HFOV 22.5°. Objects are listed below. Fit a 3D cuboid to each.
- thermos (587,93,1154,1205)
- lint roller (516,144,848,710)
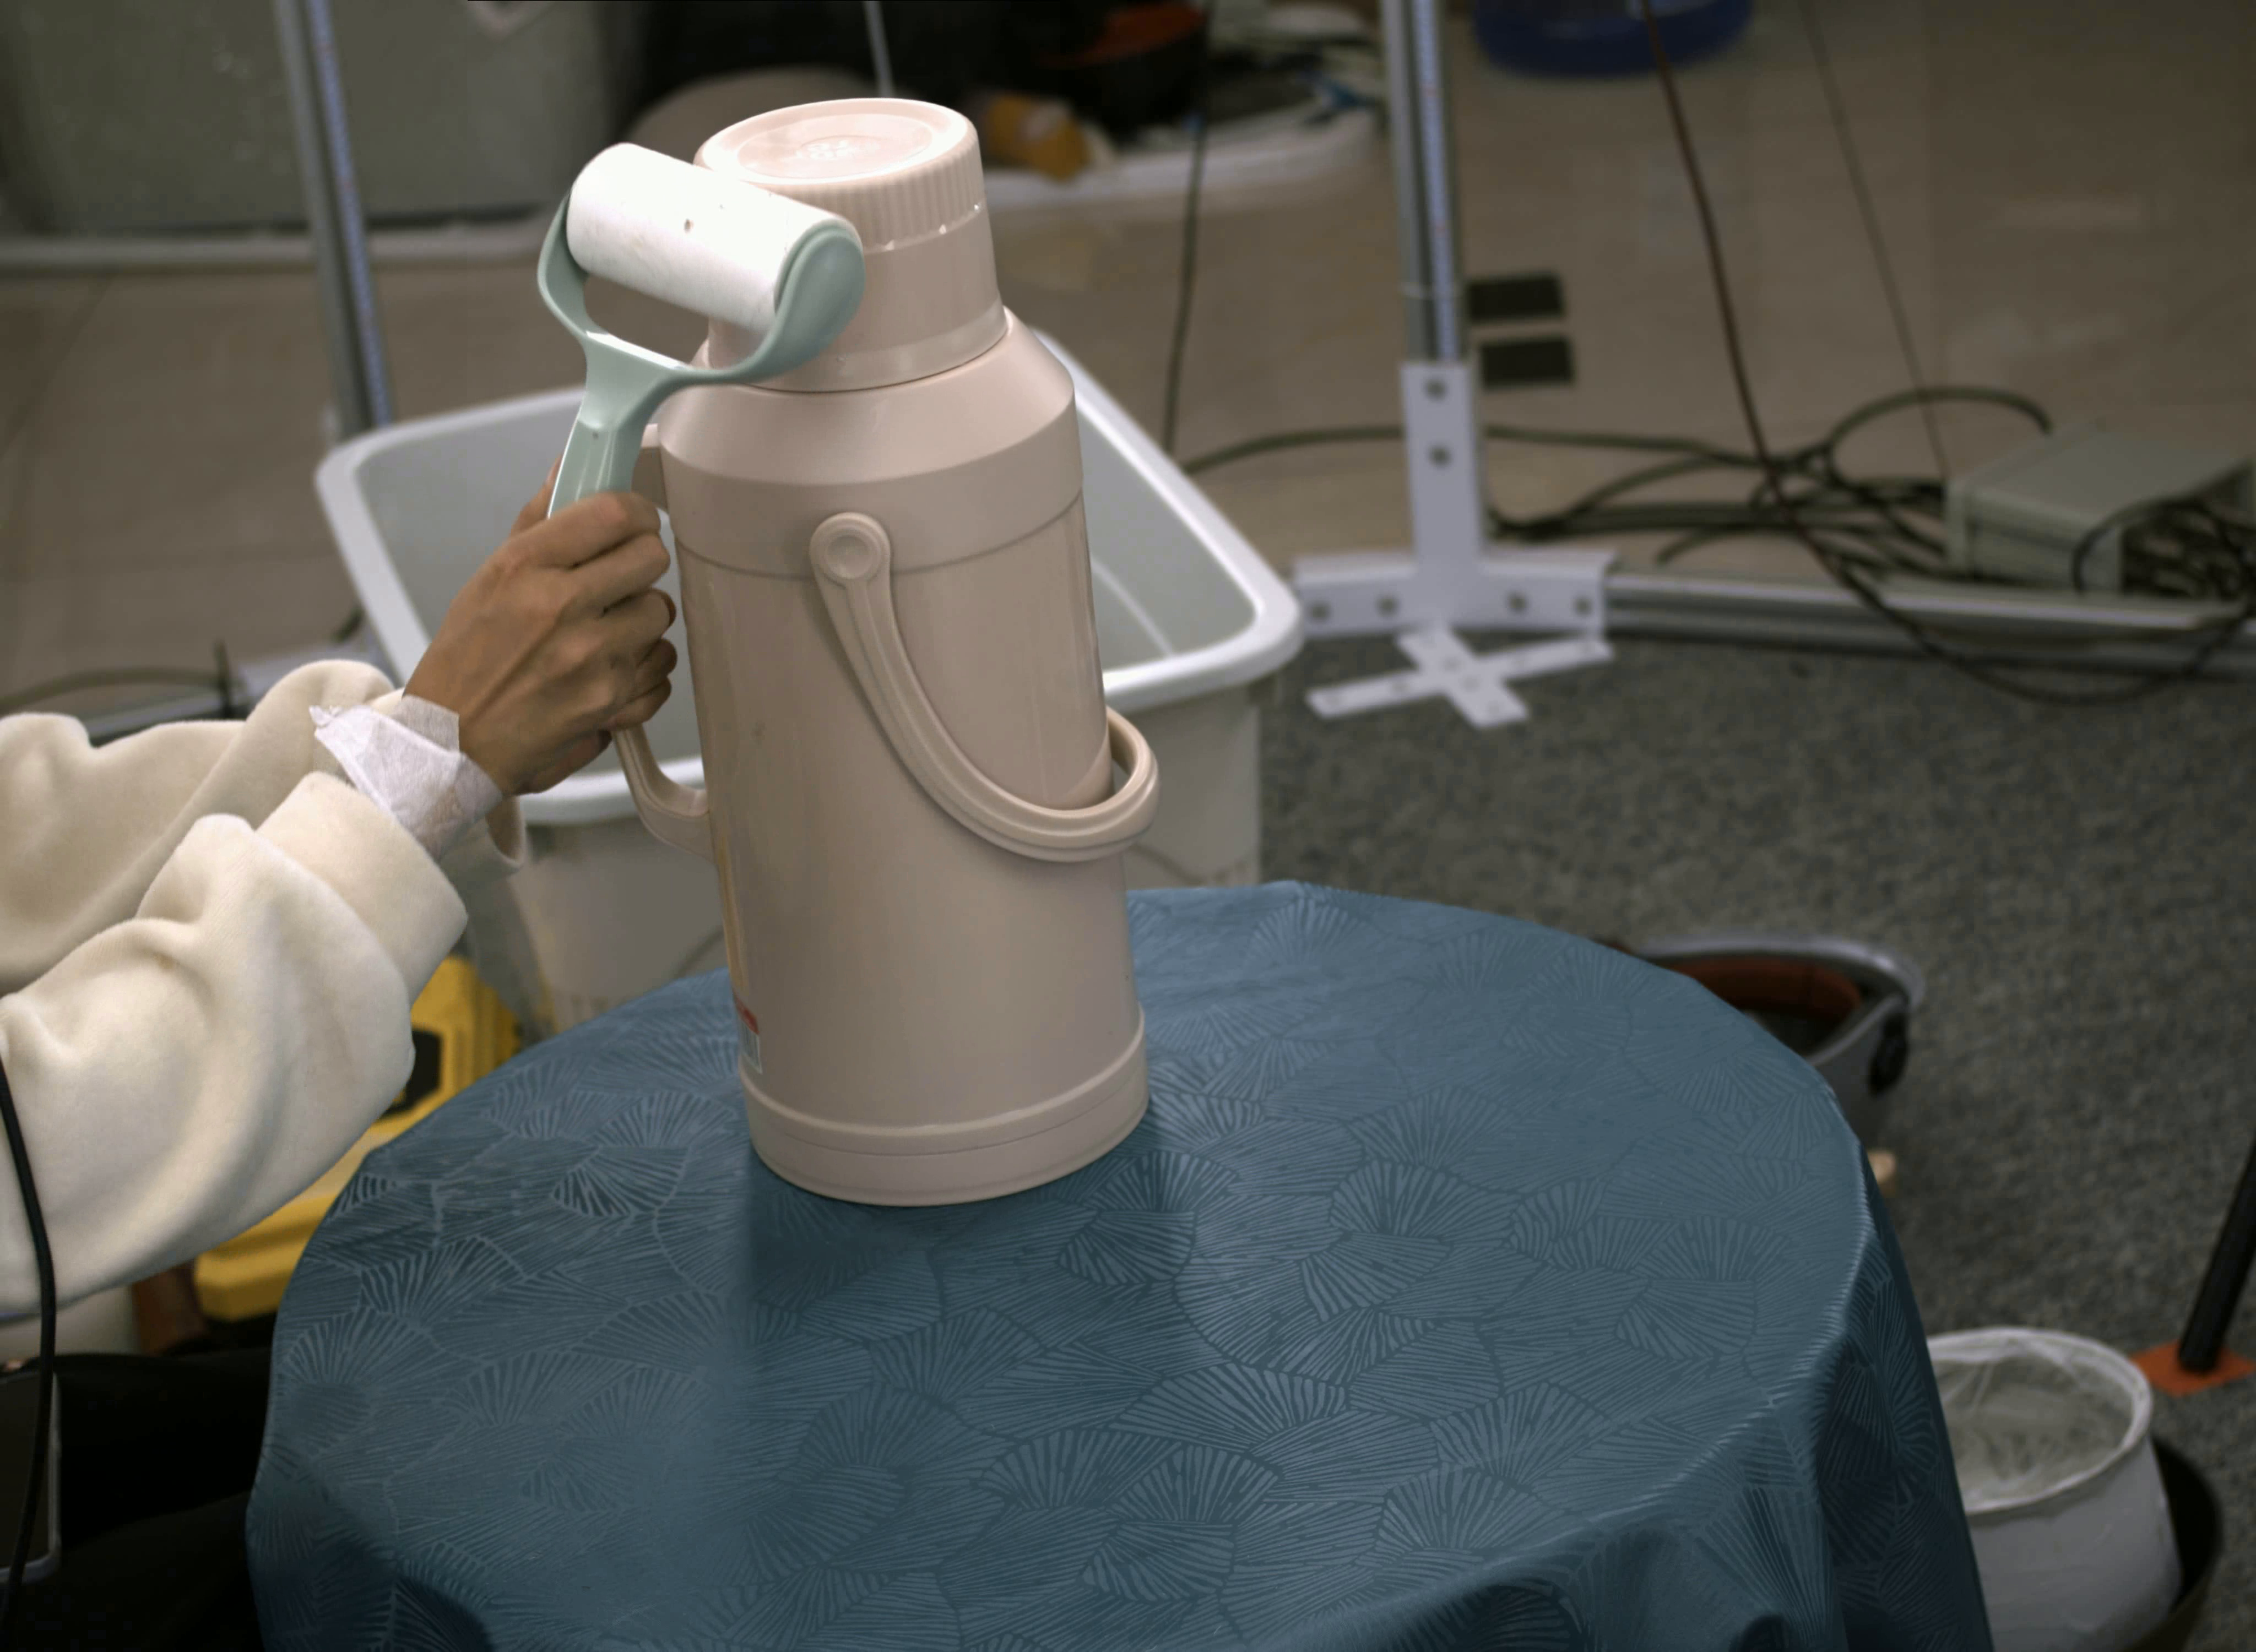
[{"bbox_3d":[-0.101,-0.067,2.137,0.207,0.413,0.172,-4,27,5],"label":"thermos"},{"bbox_3d":[-0.181,-0.138,1.984,0.115,0.198,0.049,24,1,30],"label":"lint roller"}]
